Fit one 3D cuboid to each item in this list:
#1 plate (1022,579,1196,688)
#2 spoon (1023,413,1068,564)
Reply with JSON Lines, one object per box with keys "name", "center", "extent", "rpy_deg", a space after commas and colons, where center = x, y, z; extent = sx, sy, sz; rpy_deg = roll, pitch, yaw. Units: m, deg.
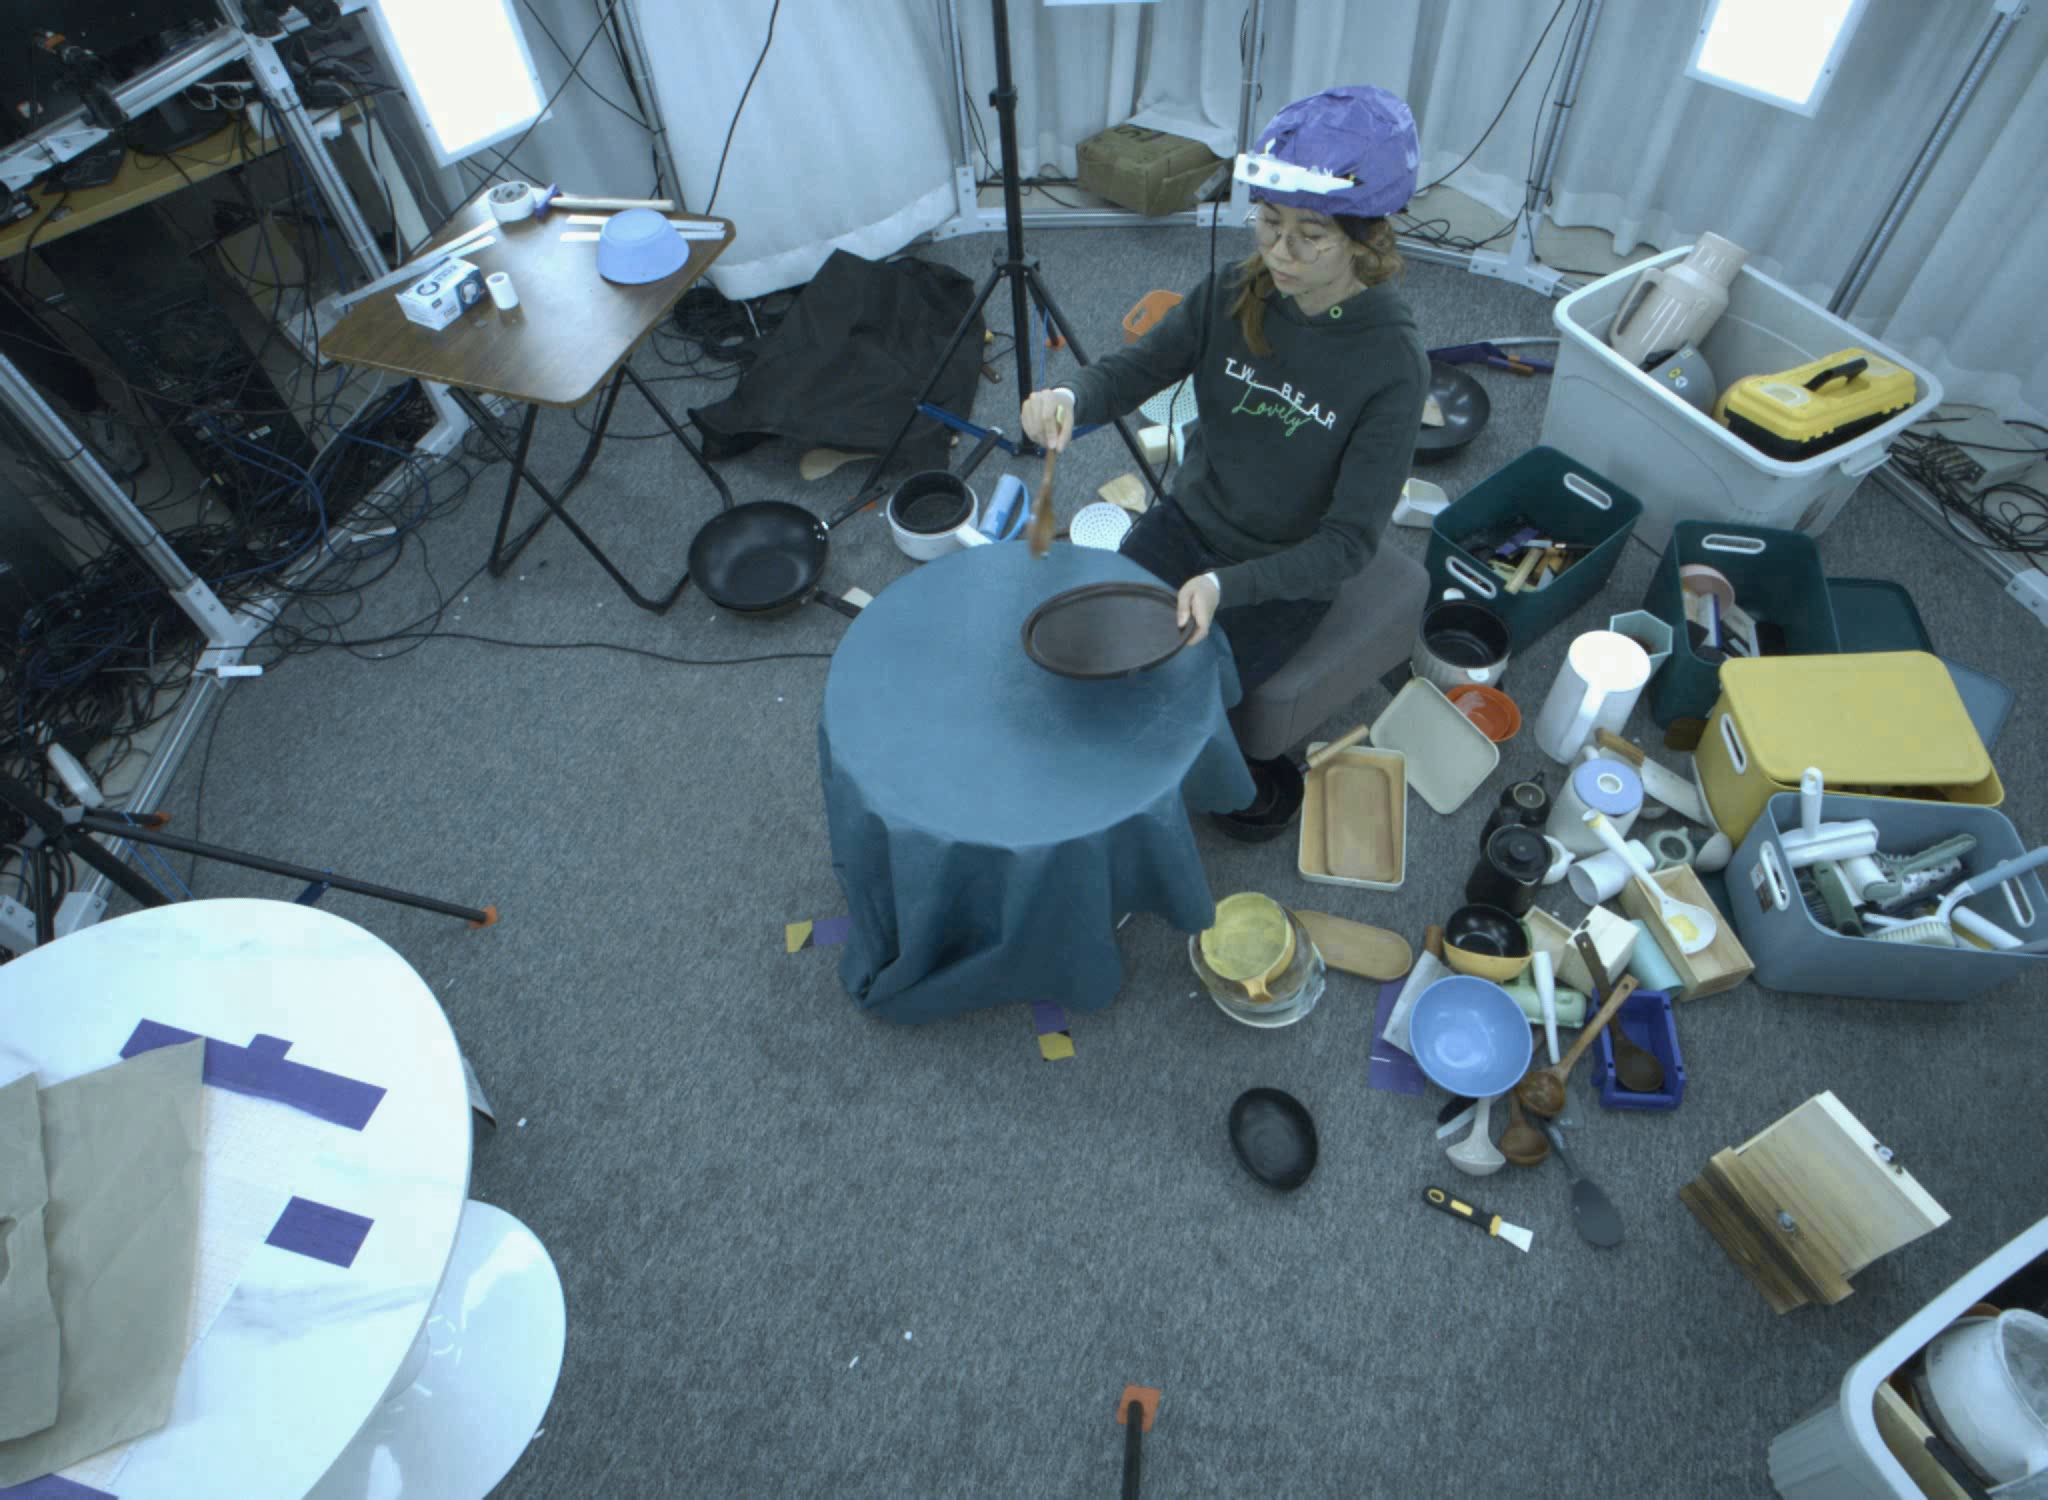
{"name": "plate", "center": [0.123, -0.169, 1.787], "extent": [0.254, 0.029, 0.252], "rpy_deg": [-5, 39, 5]}
{"name": "spoon", "center": [0.029, -0.366, 1.699], "extent": [0.017, 0.076, 0.216], "rpy_deg": [15, 98, 23]}
